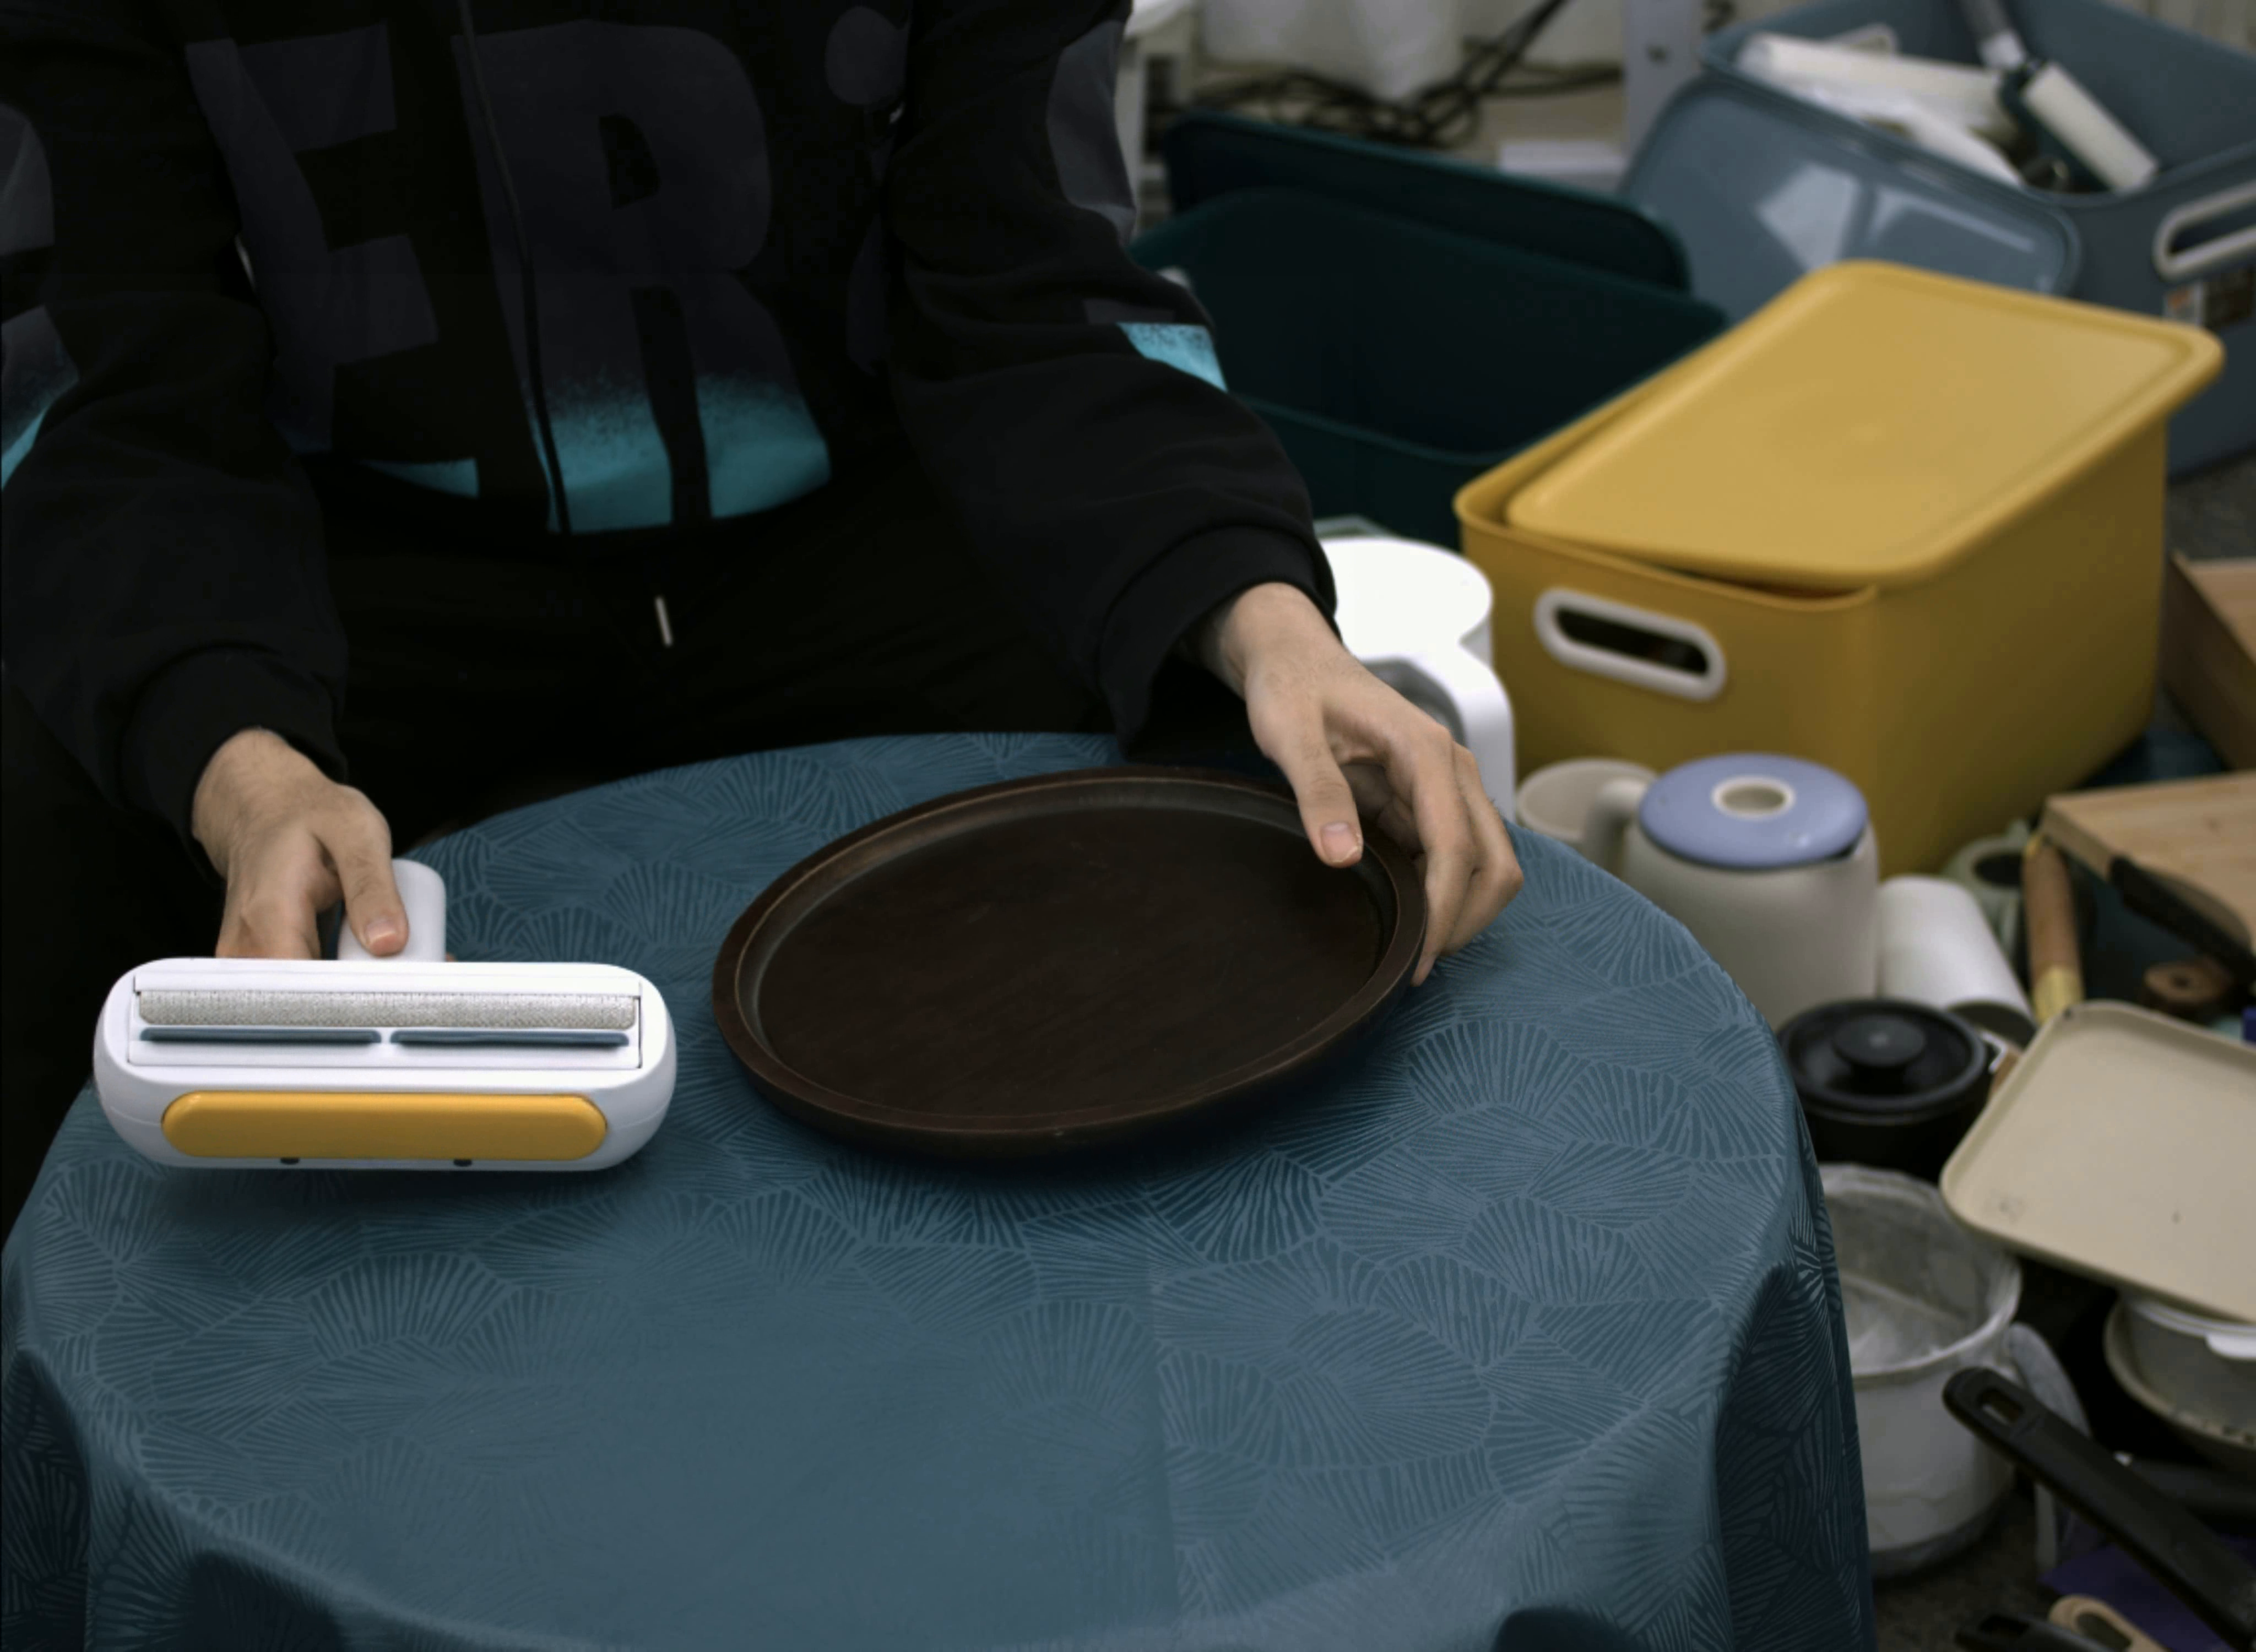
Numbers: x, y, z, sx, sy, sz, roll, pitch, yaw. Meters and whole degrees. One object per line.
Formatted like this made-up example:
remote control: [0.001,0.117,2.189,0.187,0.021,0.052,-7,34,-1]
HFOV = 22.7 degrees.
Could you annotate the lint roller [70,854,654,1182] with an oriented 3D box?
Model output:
lint roller: [-0.256,0.054,1.927,0.192,0.073,0.196,0,33,-2]

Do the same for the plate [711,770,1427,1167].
plate: [-0.020,0.048,1.962,0.253,0.029,0.258,-6,26,3]
